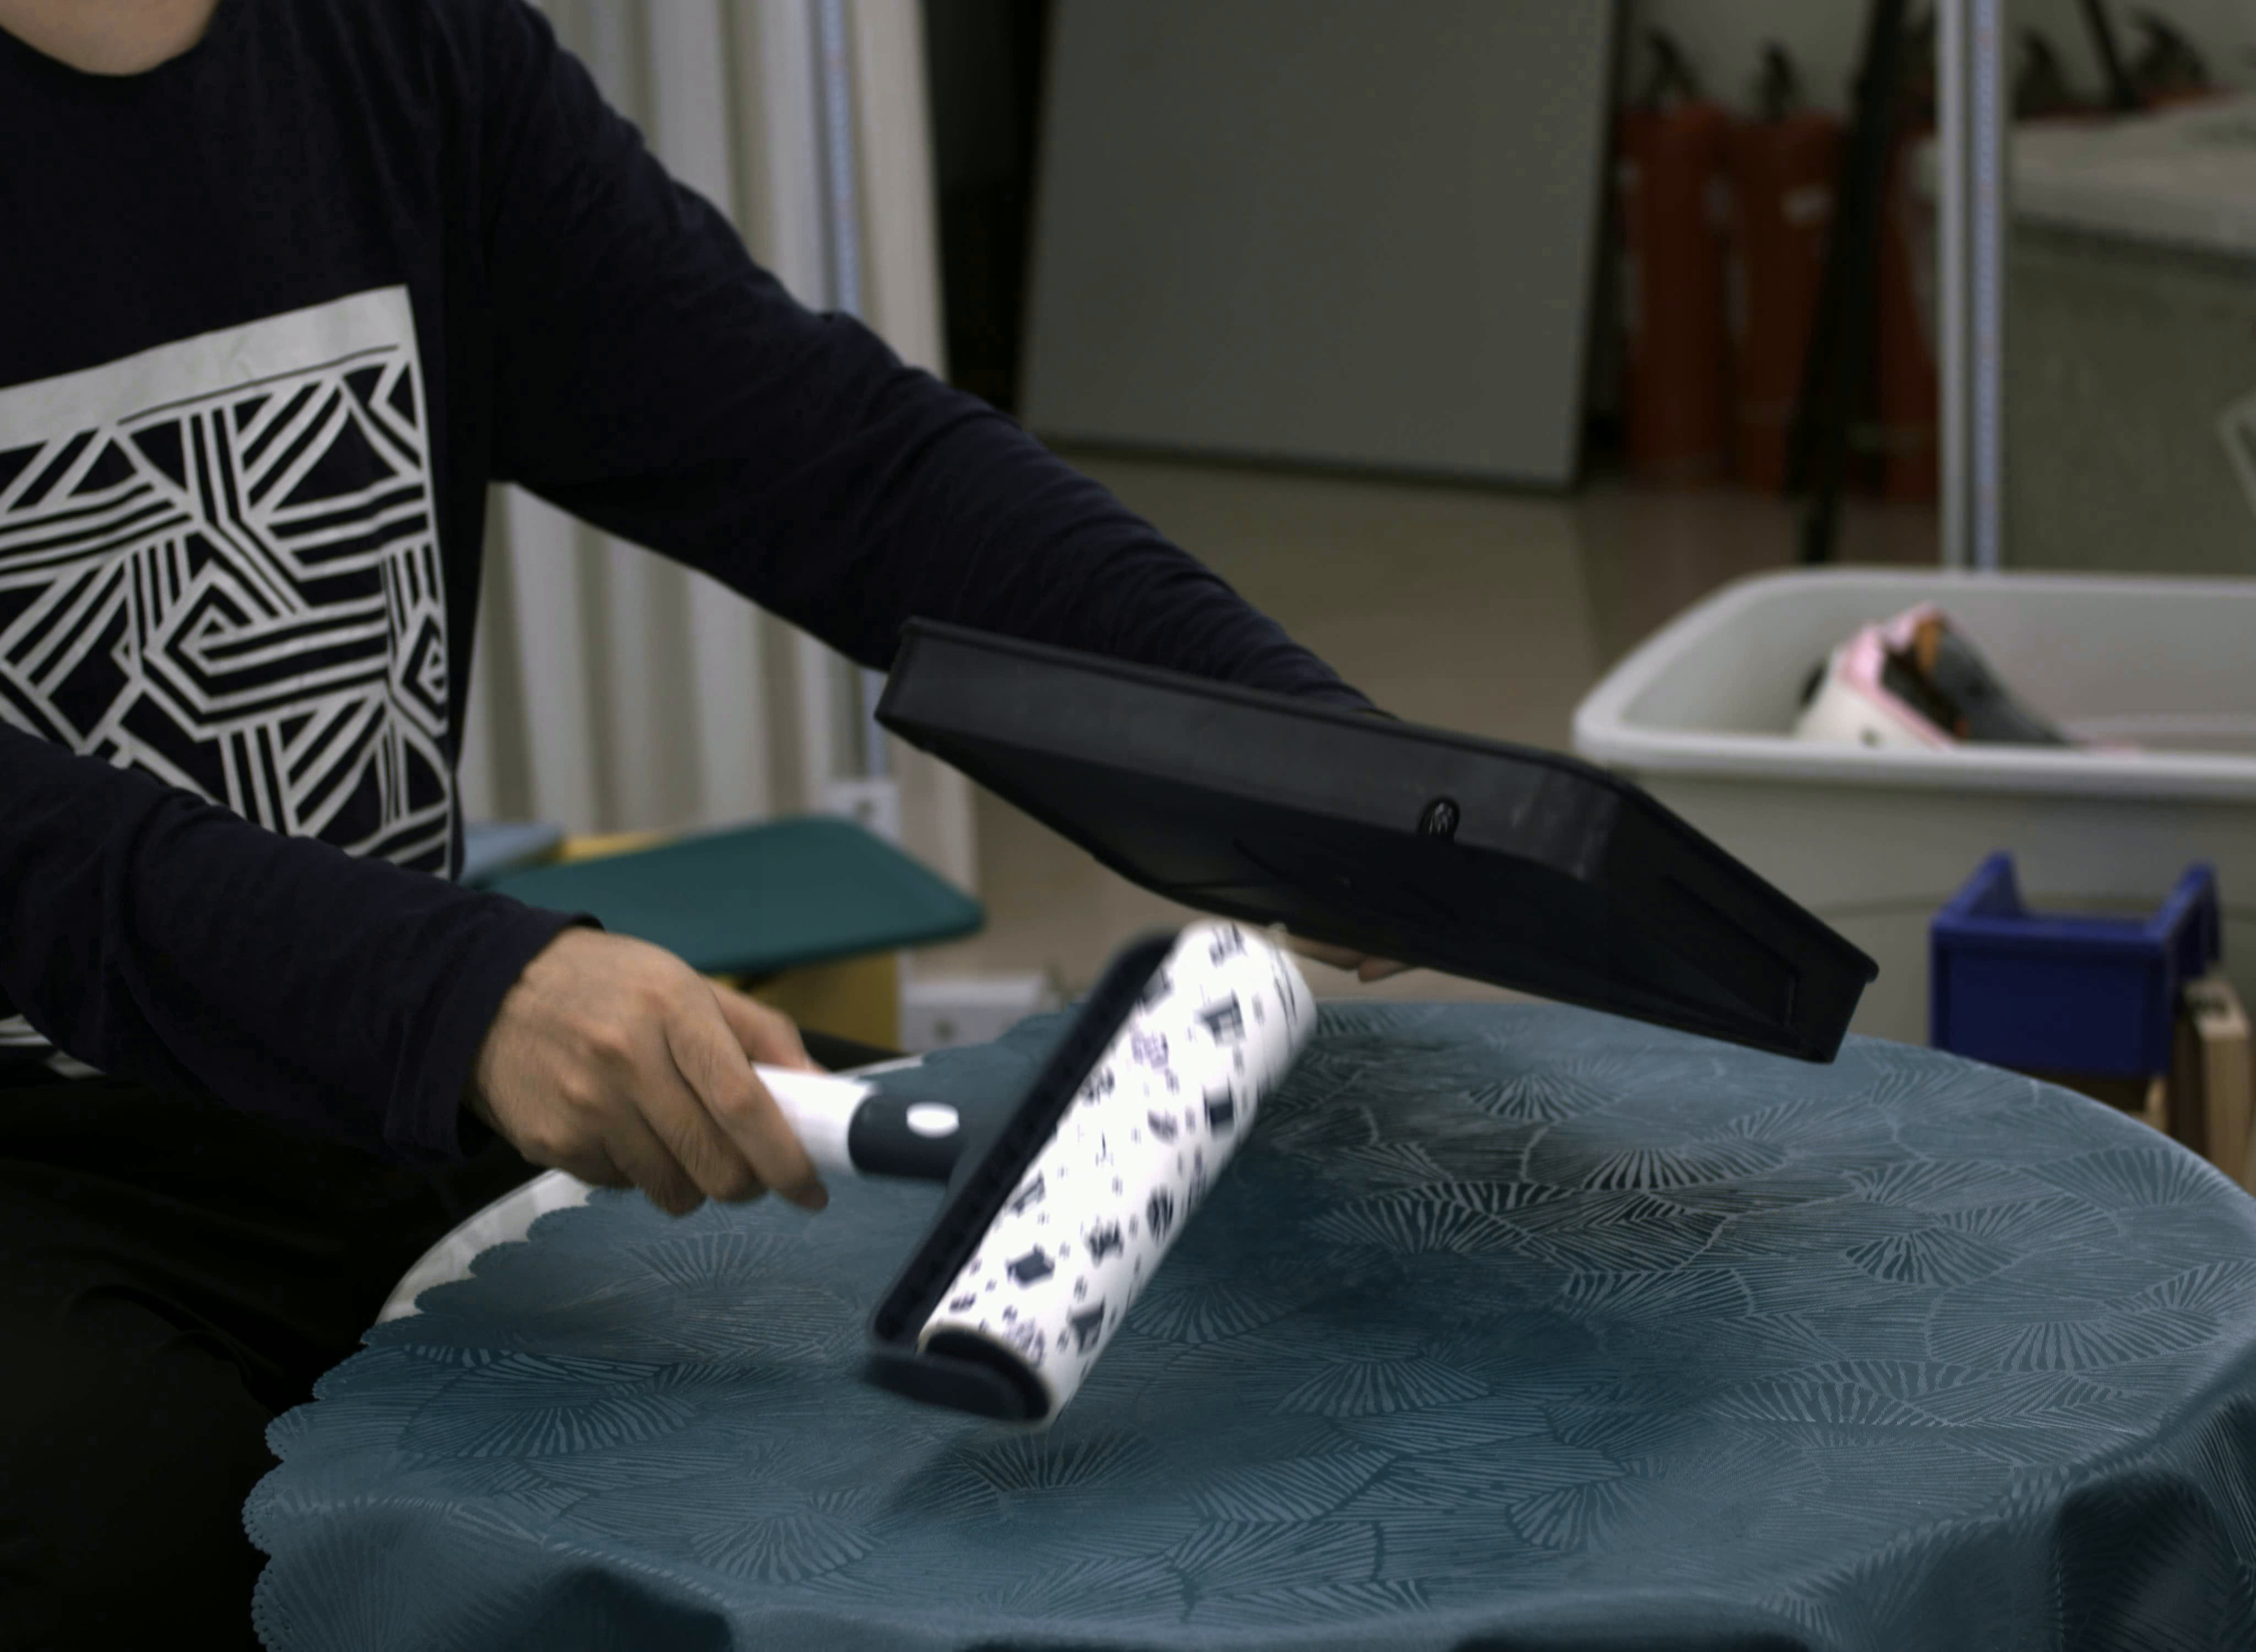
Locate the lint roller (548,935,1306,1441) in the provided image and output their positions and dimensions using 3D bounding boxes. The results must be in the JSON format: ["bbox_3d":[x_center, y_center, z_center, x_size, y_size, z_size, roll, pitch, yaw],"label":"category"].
[{"bbox_3d":[-0.084,0.095,1.613,0.249,0.050,0.175,6,46,37],"label":"lint roller"}]

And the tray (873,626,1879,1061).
[{"bbox_3d":[0.075,0.005,1.748,0.321,0.037,0.181,12,-15,45],"label":"tray"}]
